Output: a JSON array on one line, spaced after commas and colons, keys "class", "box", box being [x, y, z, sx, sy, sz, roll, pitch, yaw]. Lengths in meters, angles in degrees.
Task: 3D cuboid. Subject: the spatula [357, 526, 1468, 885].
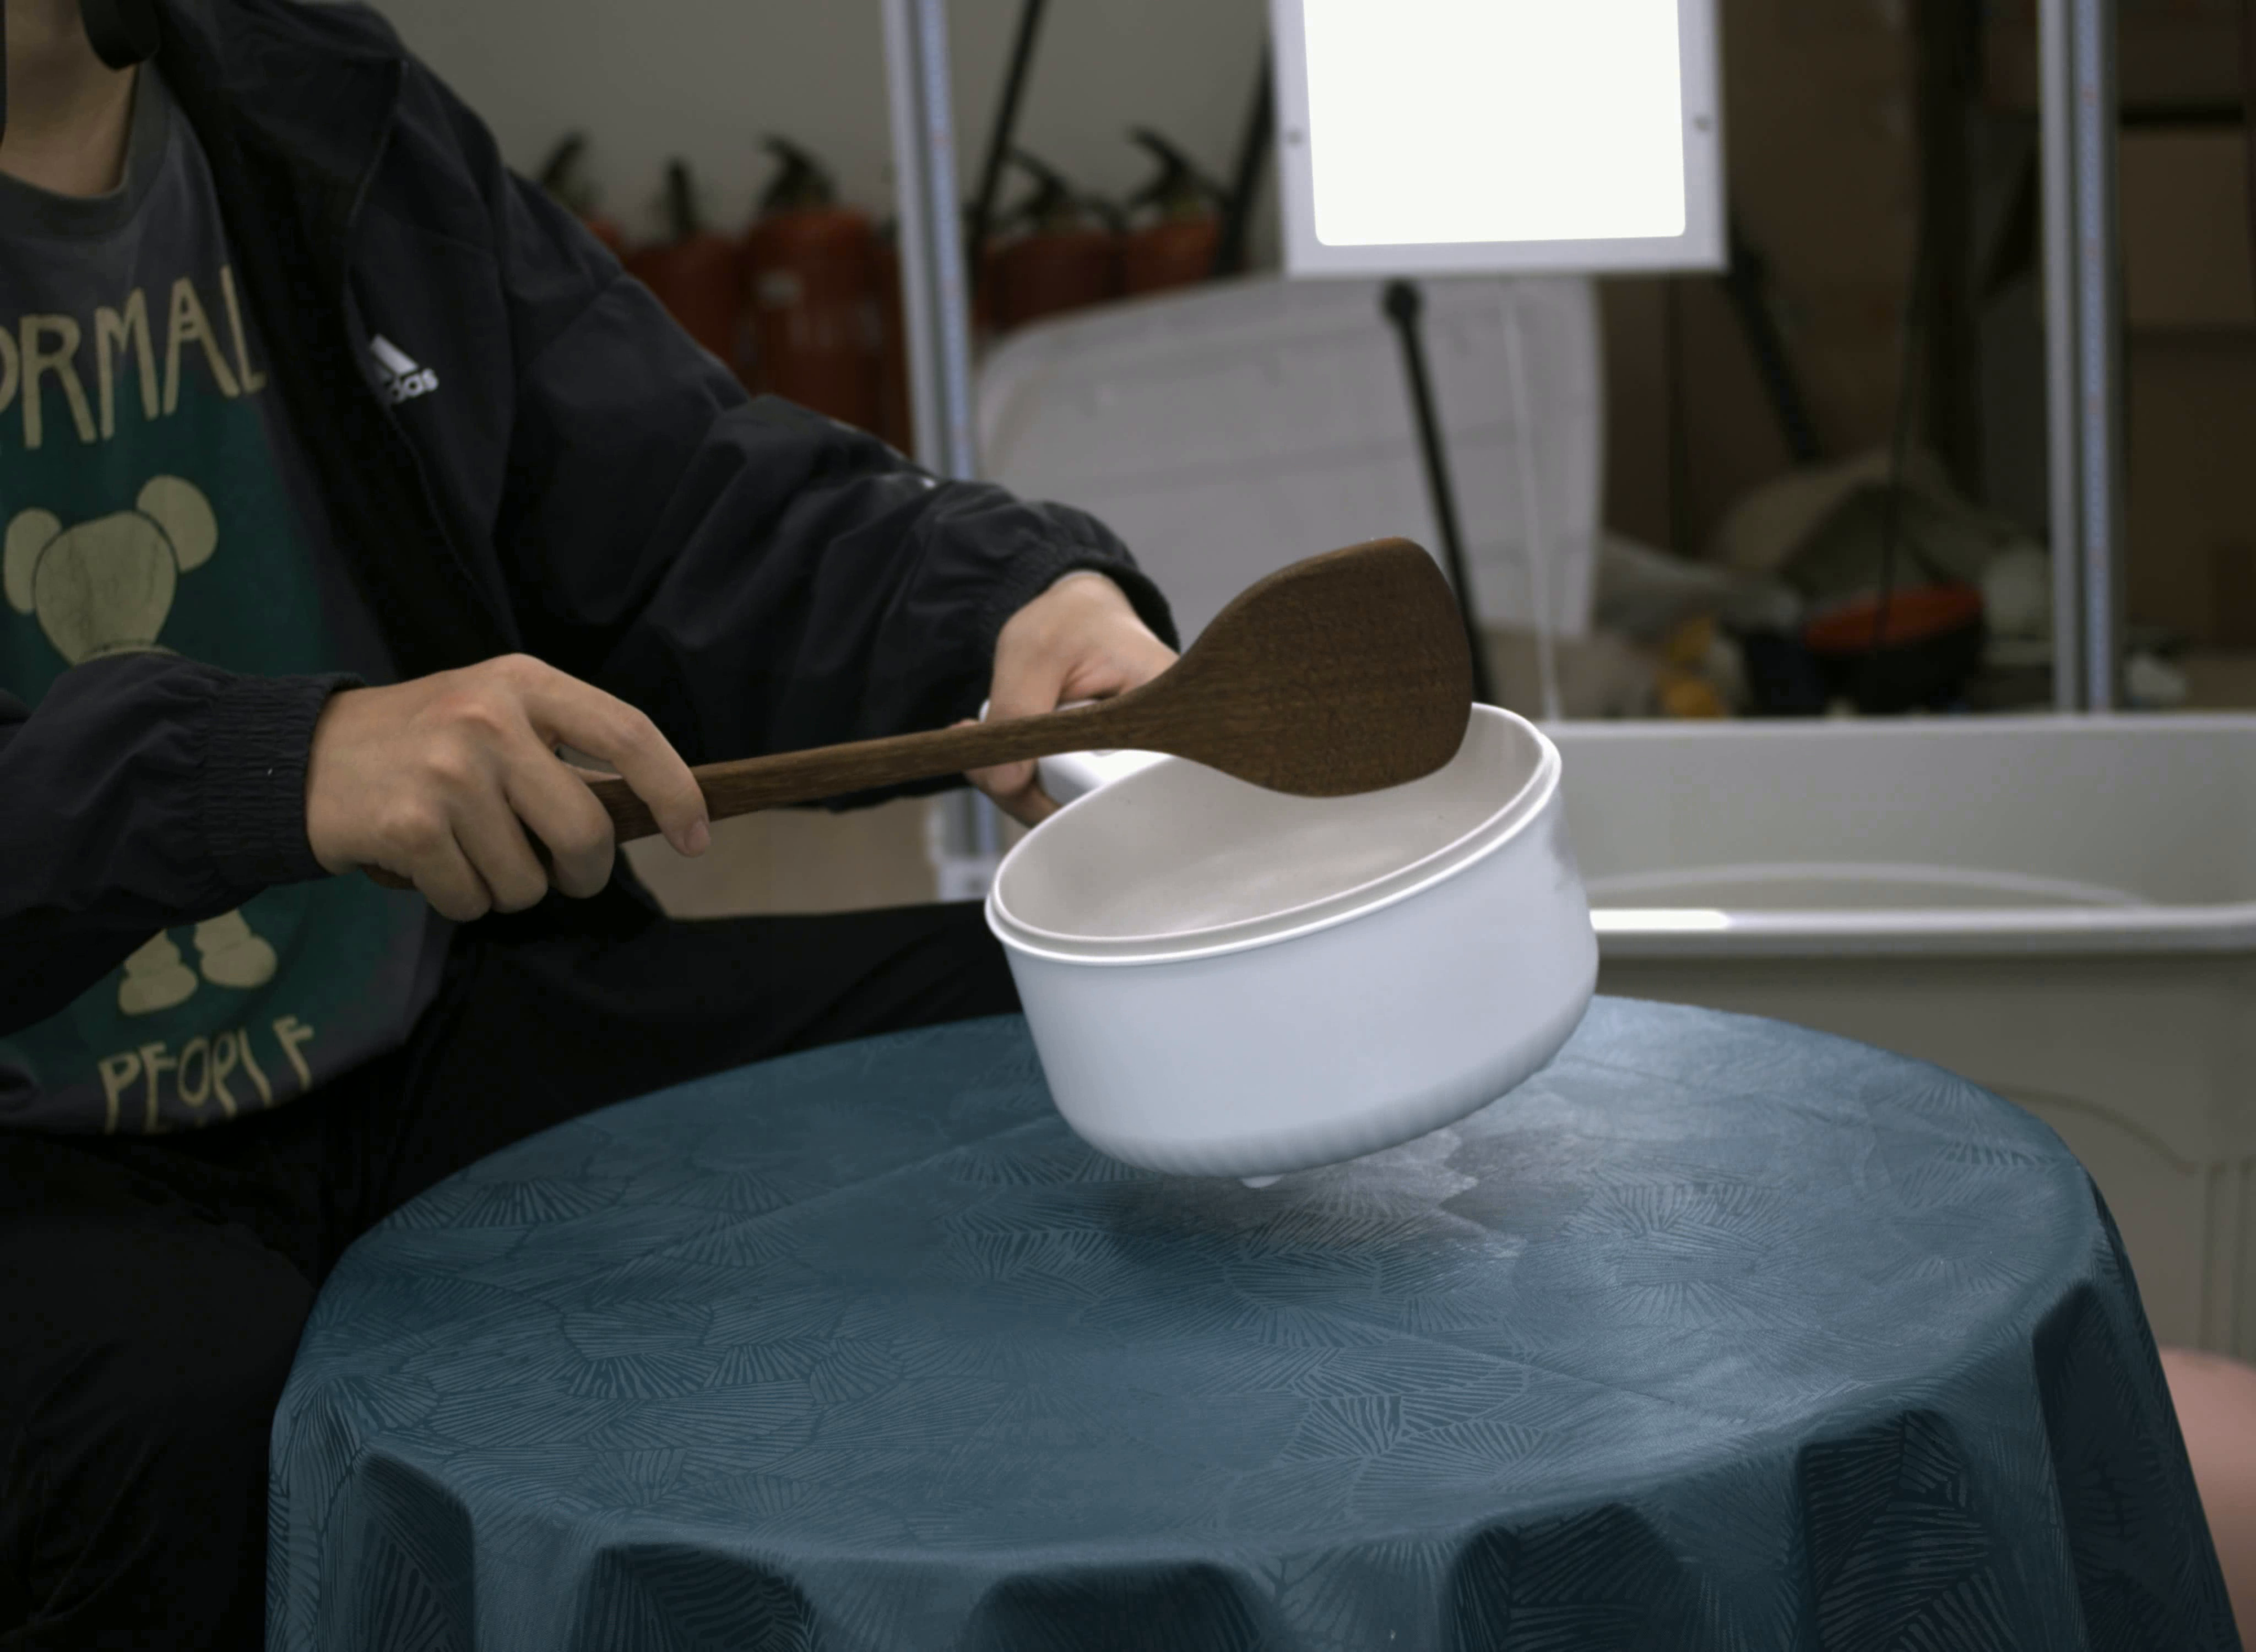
[{"class": "spatula", "box": [-0.075, -0.026, 1.871, 0.387, 0.096, 0.016, -10, 30, 6]}]

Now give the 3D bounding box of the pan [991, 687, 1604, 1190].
[{"class": "pan", "box": [0.035, 0.029, 1.938, 0.198, 0.102, 0.359, -23, 18, -14]}]
